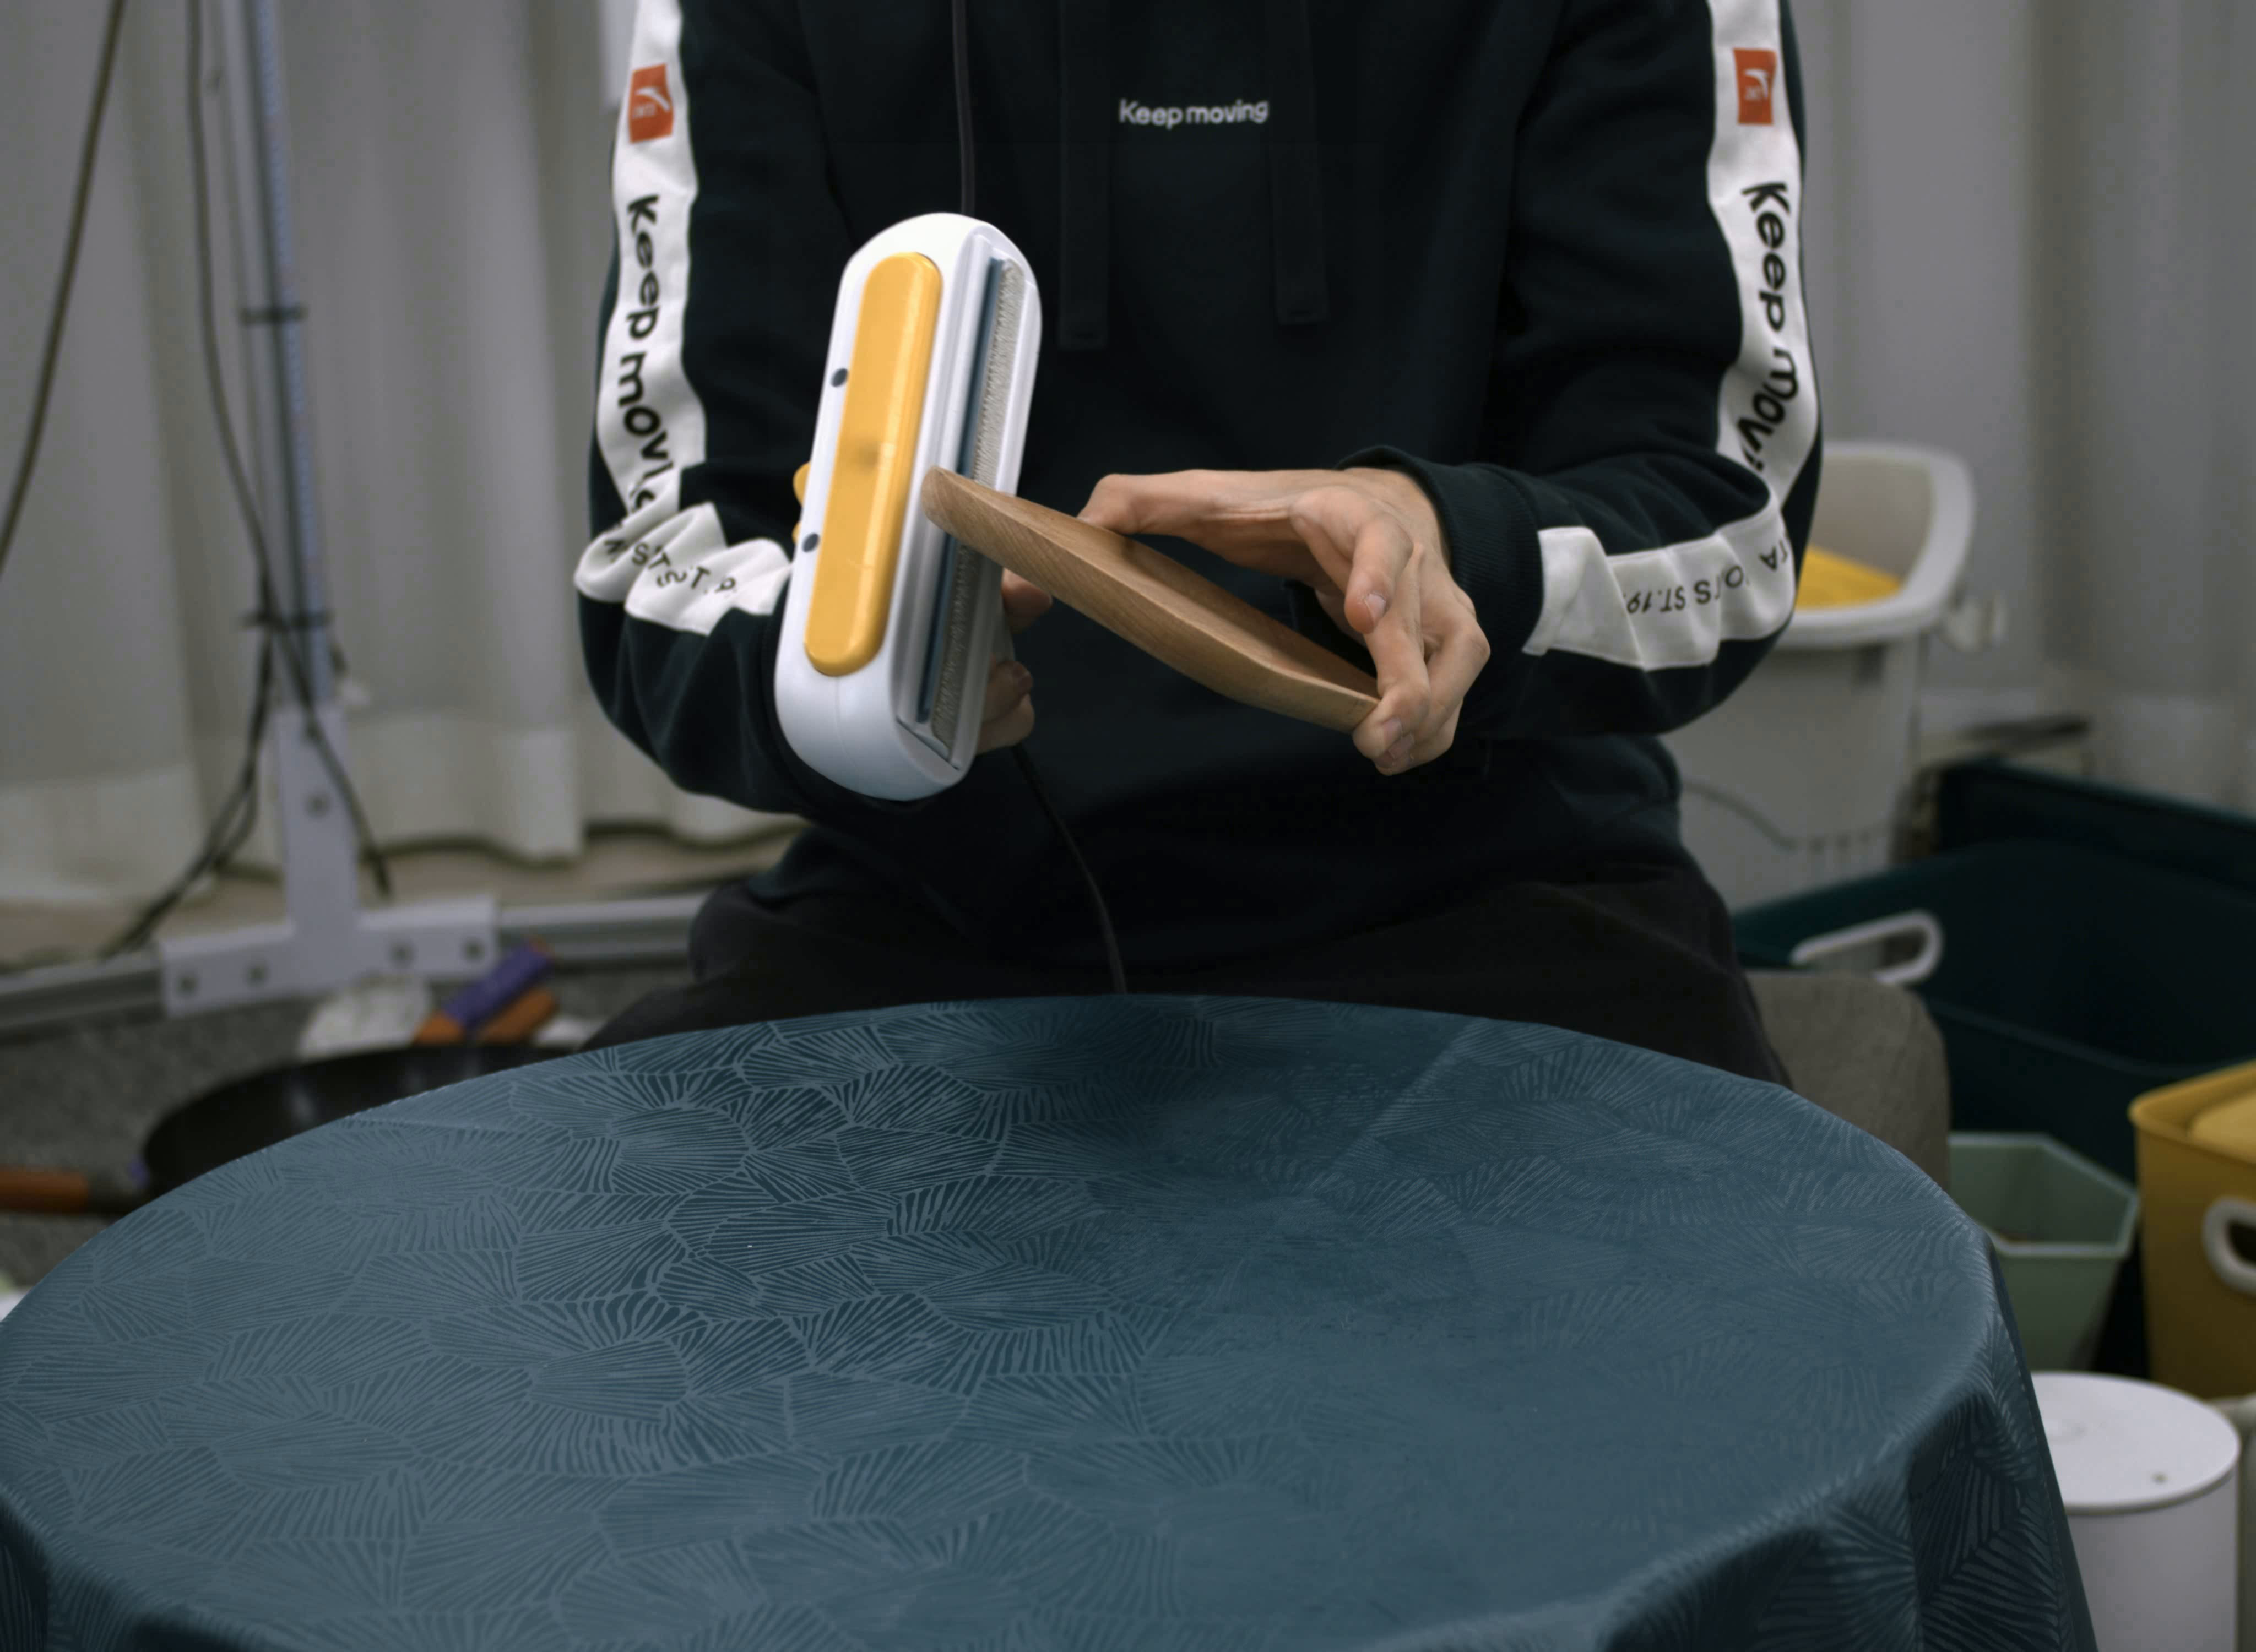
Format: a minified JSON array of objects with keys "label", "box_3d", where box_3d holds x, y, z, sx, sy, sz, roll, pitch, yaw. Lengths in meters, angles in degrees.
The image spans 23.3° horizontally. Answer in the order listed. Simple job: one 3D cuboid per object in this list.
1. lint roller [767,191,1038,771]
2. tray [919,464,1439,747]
[{"label":"lint roller","box_3d":[-0.058,-0.084,1.790,0.074,0.195,0.190,-5,-29,19]},{"label":"tray","box_3d":[0.018,-0.067,1.740,0.131,0.023,0.249,35,7,17]}]
